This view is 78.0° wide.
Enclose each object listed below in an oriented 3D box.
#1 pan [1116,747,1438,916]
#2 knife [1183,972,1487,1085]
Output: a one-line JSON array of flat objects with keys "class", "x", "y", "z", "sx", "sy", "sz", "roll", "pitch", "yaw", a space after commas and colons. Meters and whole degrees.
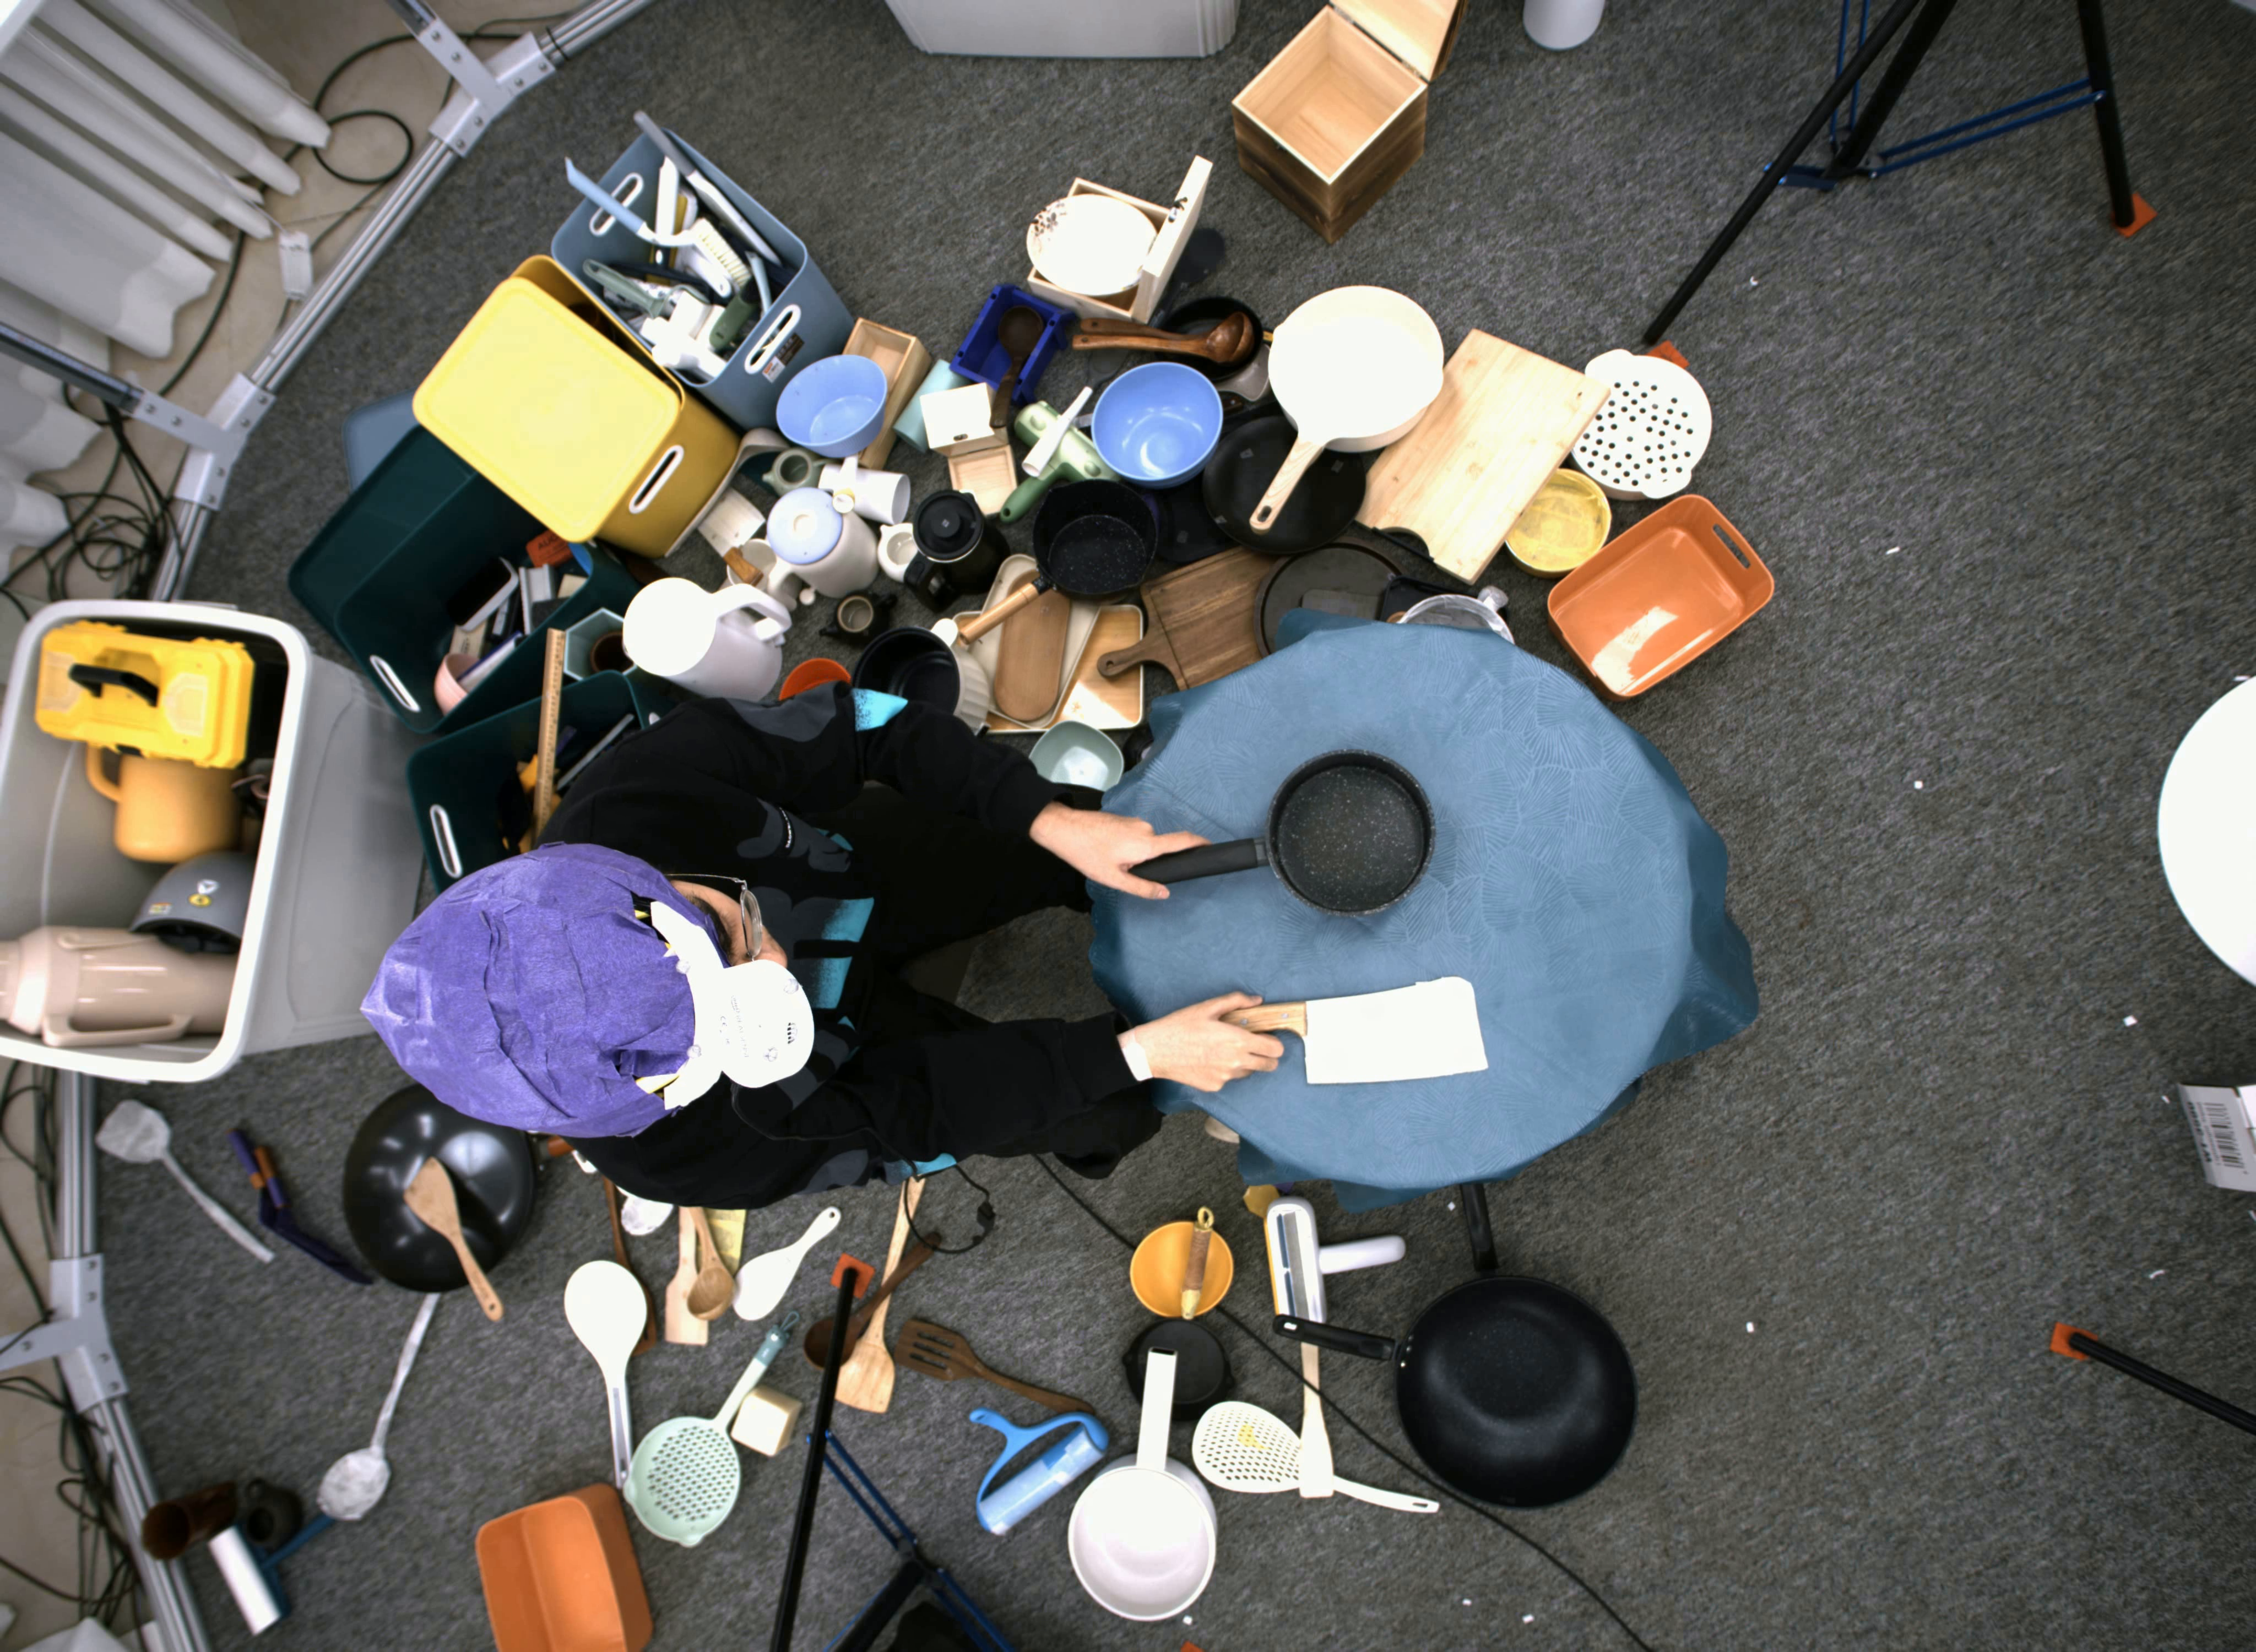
[{"class": "pan", "x": 0.154, "y": 0.020, "z": 1.442, "sx": 0.330, "sy": 0.086, "sz": 0.171, "roll": -8, "pitch": 83, "yaw": 9}, {"class": "knife", "x": 0.215, "y": 0.213, "z": 1.453, "sx": 0.316, "sy": 0.022, "sz": 0.113, "roll": -3, "pitch": 87, "yaw": 8}]
